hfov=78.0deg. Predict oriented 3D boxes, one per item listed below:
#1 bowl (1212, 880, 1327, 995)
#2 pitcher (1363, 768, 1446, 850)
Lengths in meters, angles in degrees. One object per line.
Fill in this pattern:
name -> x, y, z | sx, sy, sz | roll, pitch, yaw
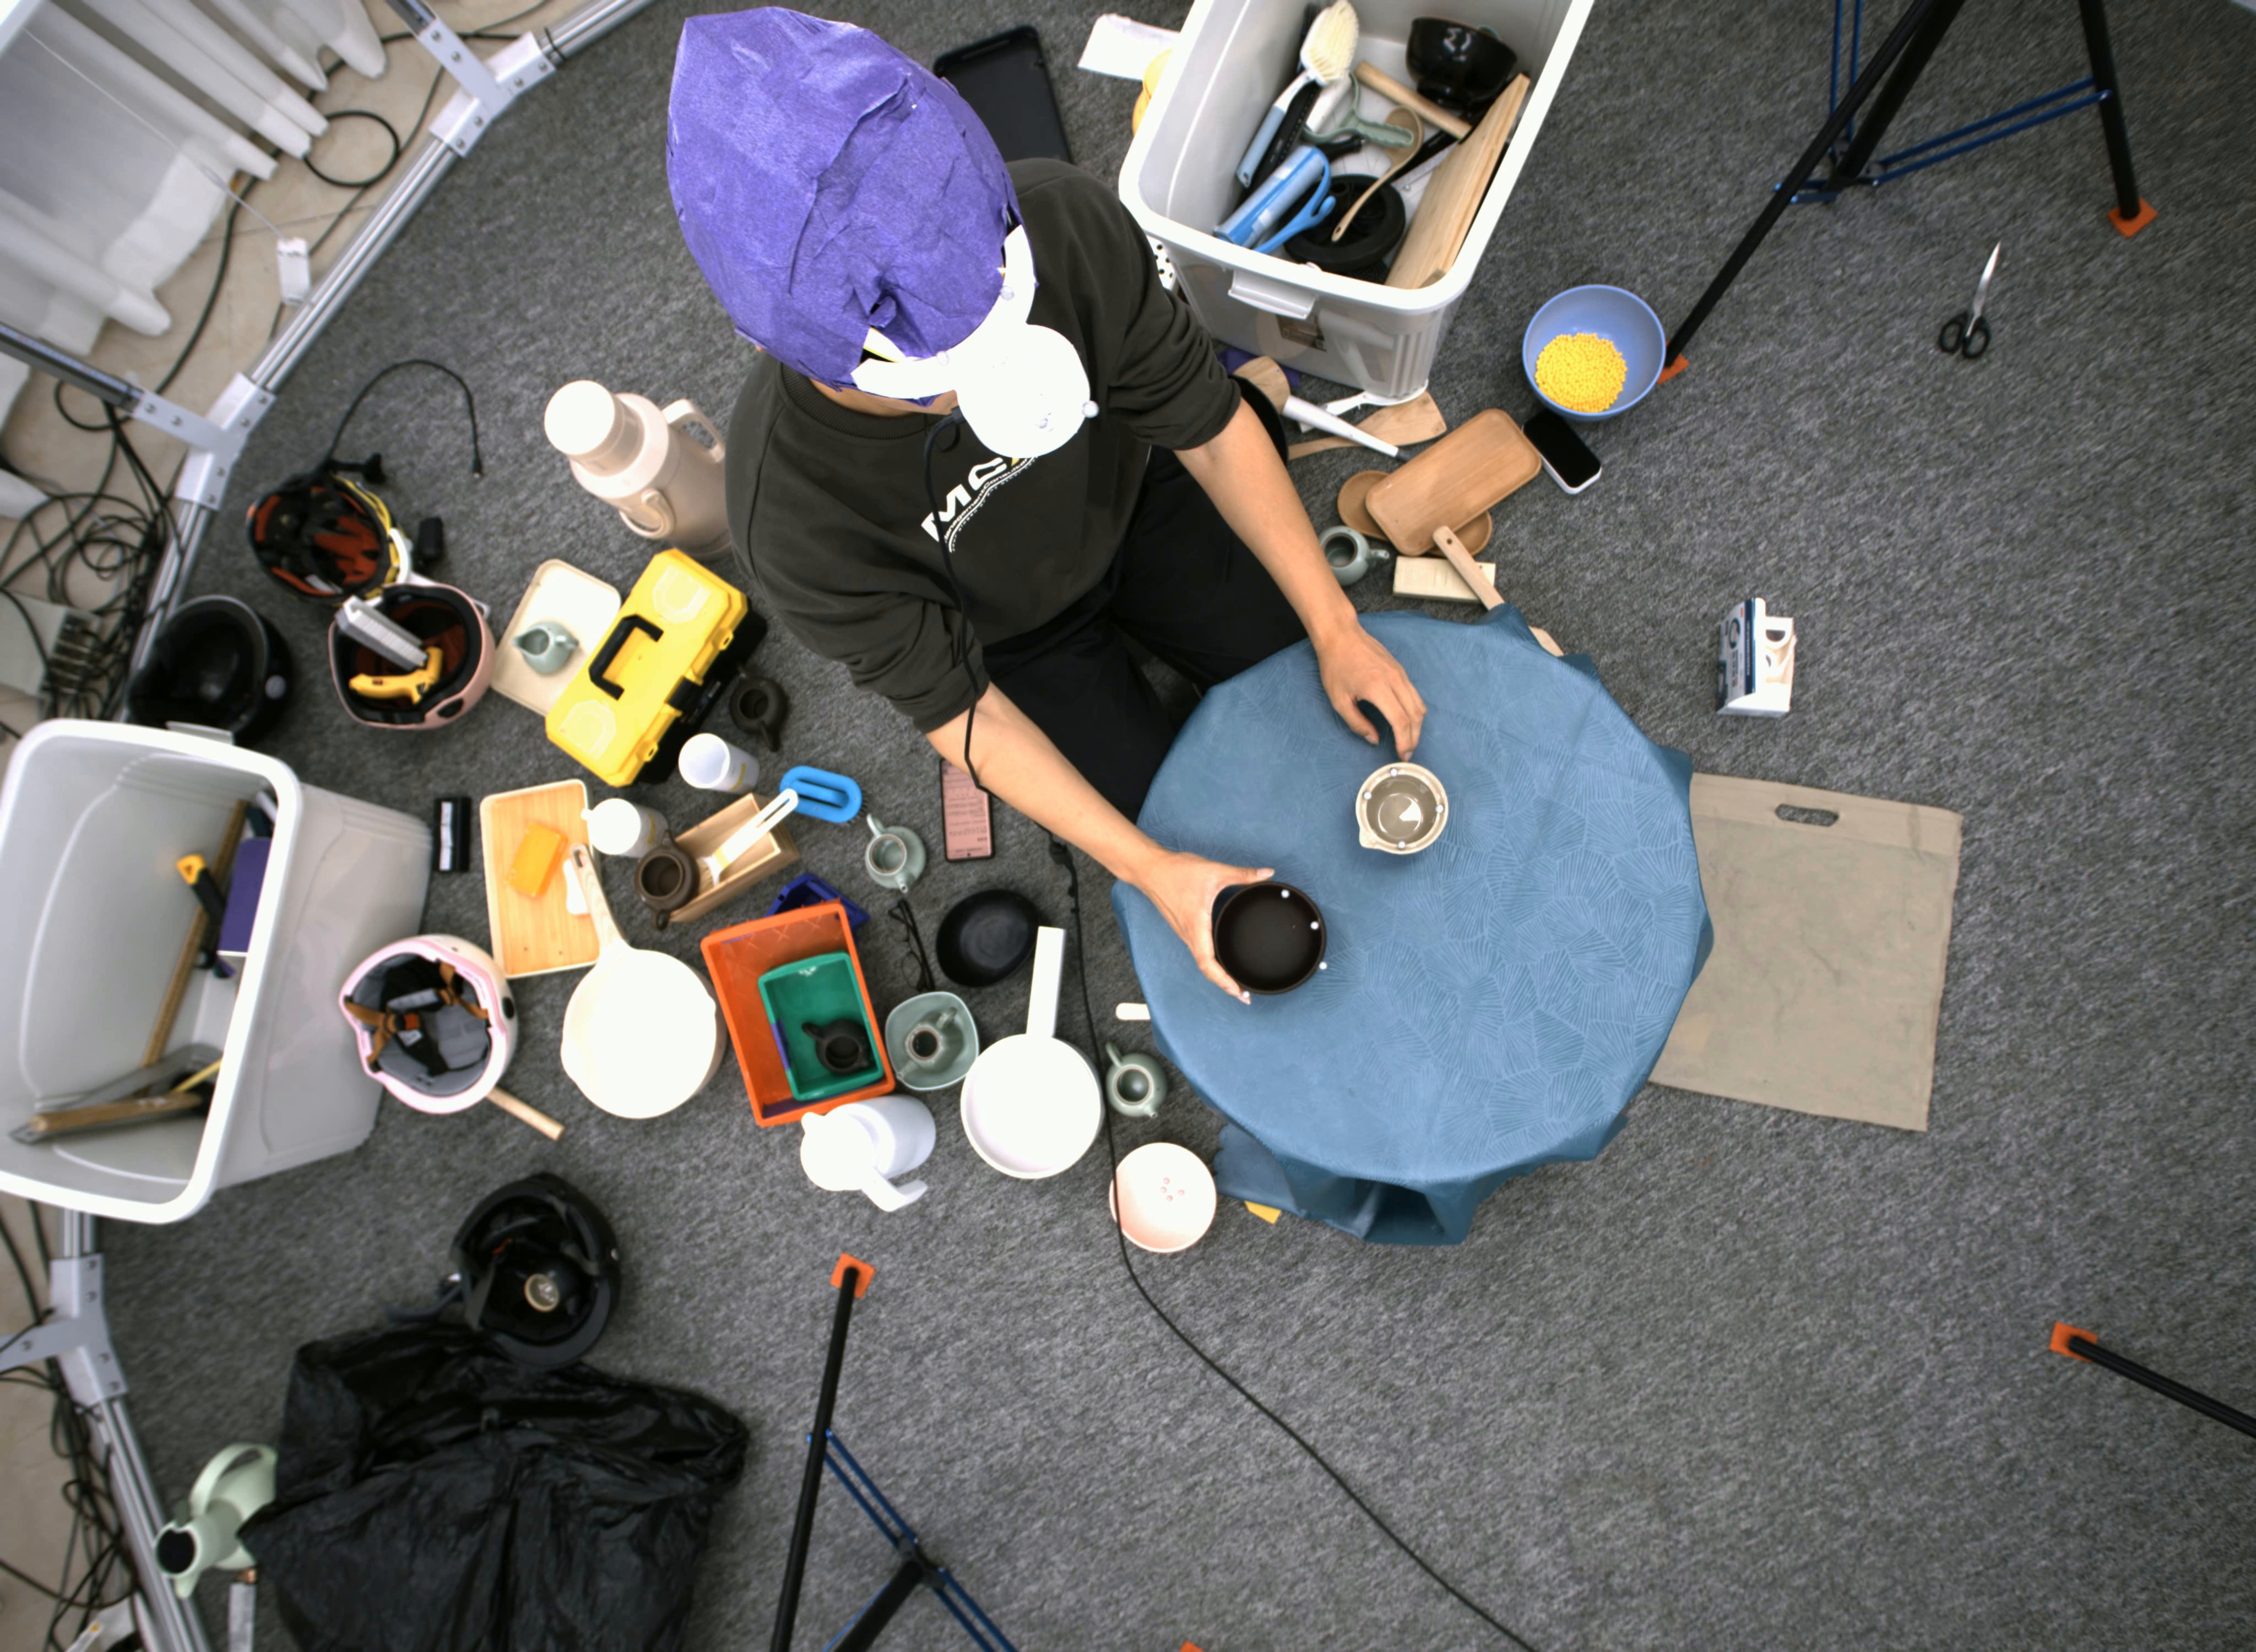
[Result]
bowl -> 0.149, 0.116, 1.442 | 0.118, 0.070, 0.117 | -1, 85, 12
pitcher -> 0.282, -0.014, 1.425 | 0.096, 0.071, 0.083 | -37, 82, 7
